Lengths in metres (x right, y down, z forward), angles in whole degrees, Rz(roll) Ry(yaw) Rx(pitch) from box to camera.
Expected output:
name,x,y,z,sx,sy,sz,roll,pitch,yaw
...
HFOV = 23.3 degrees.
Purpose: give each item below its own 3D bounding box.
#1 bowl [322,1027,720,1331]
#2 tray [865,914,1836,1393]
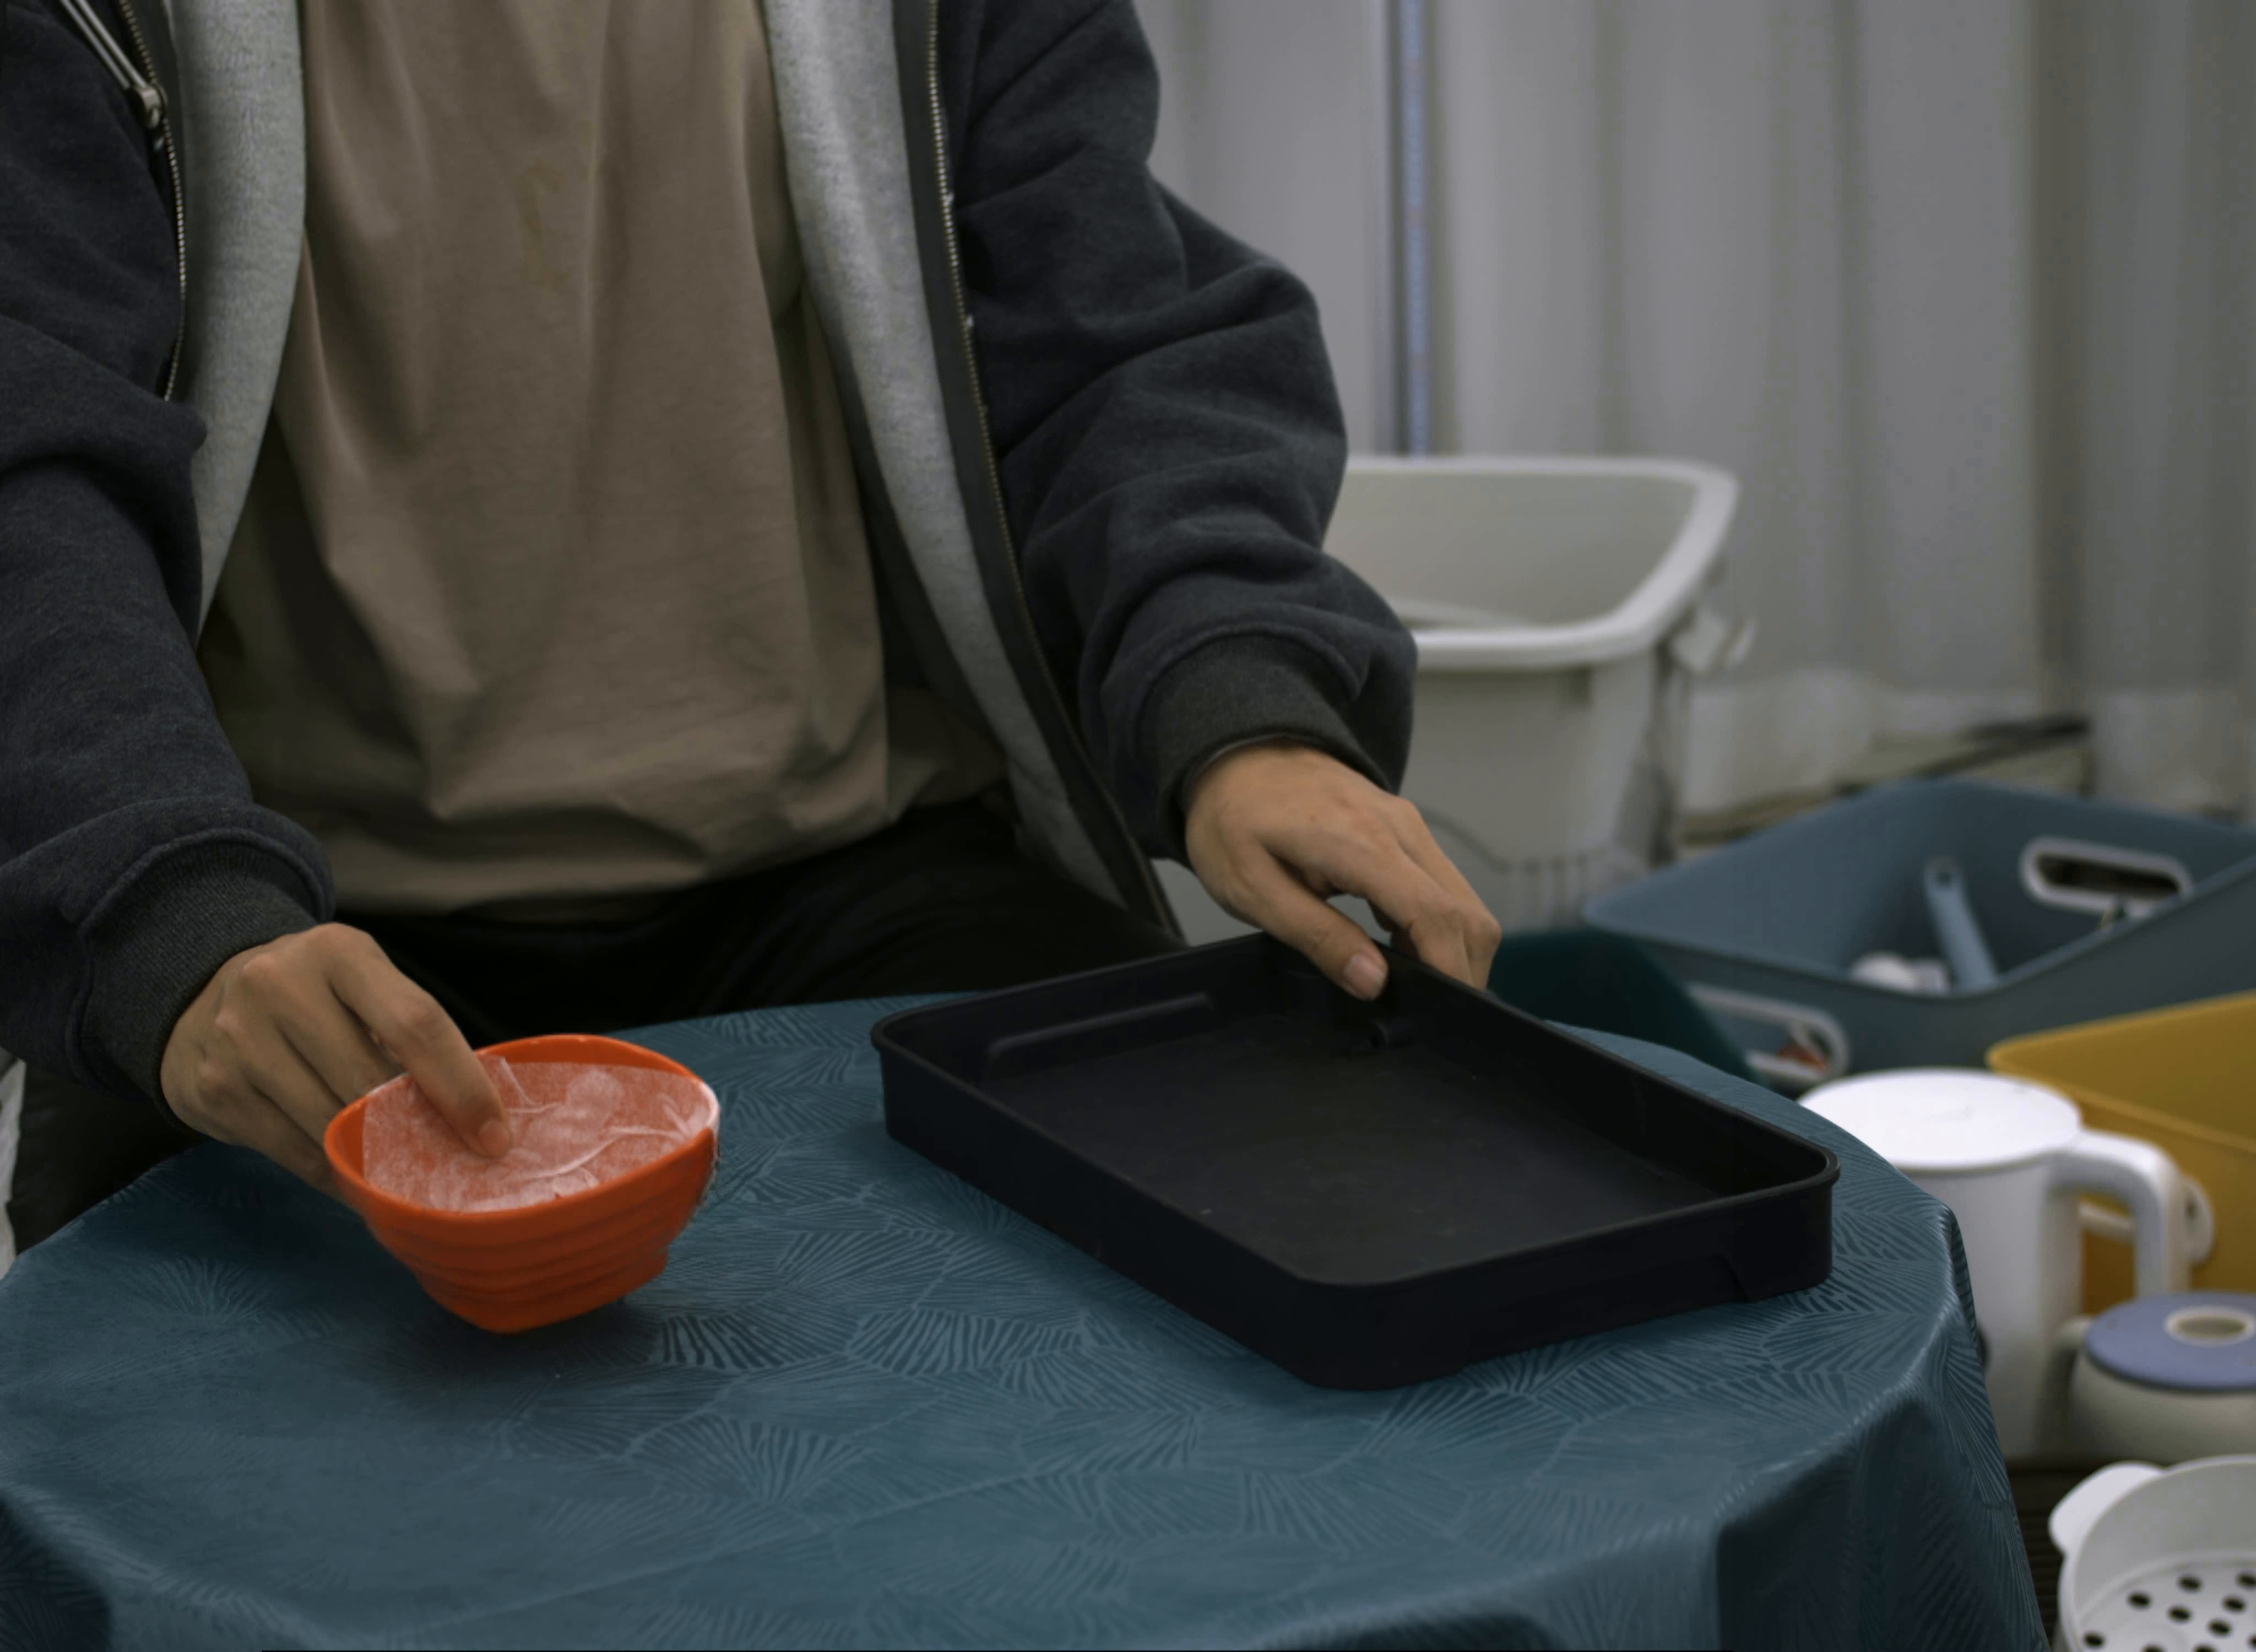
name,x,y,z,sx,sy,sz,roll,pitch,yaw
bowl,-0.177,0.108,1.618,0.118,0.051,0.120,-4,25,2
tray,0.062,0.096,1.697,0.183,0.037,0.320,-11,18,-26
